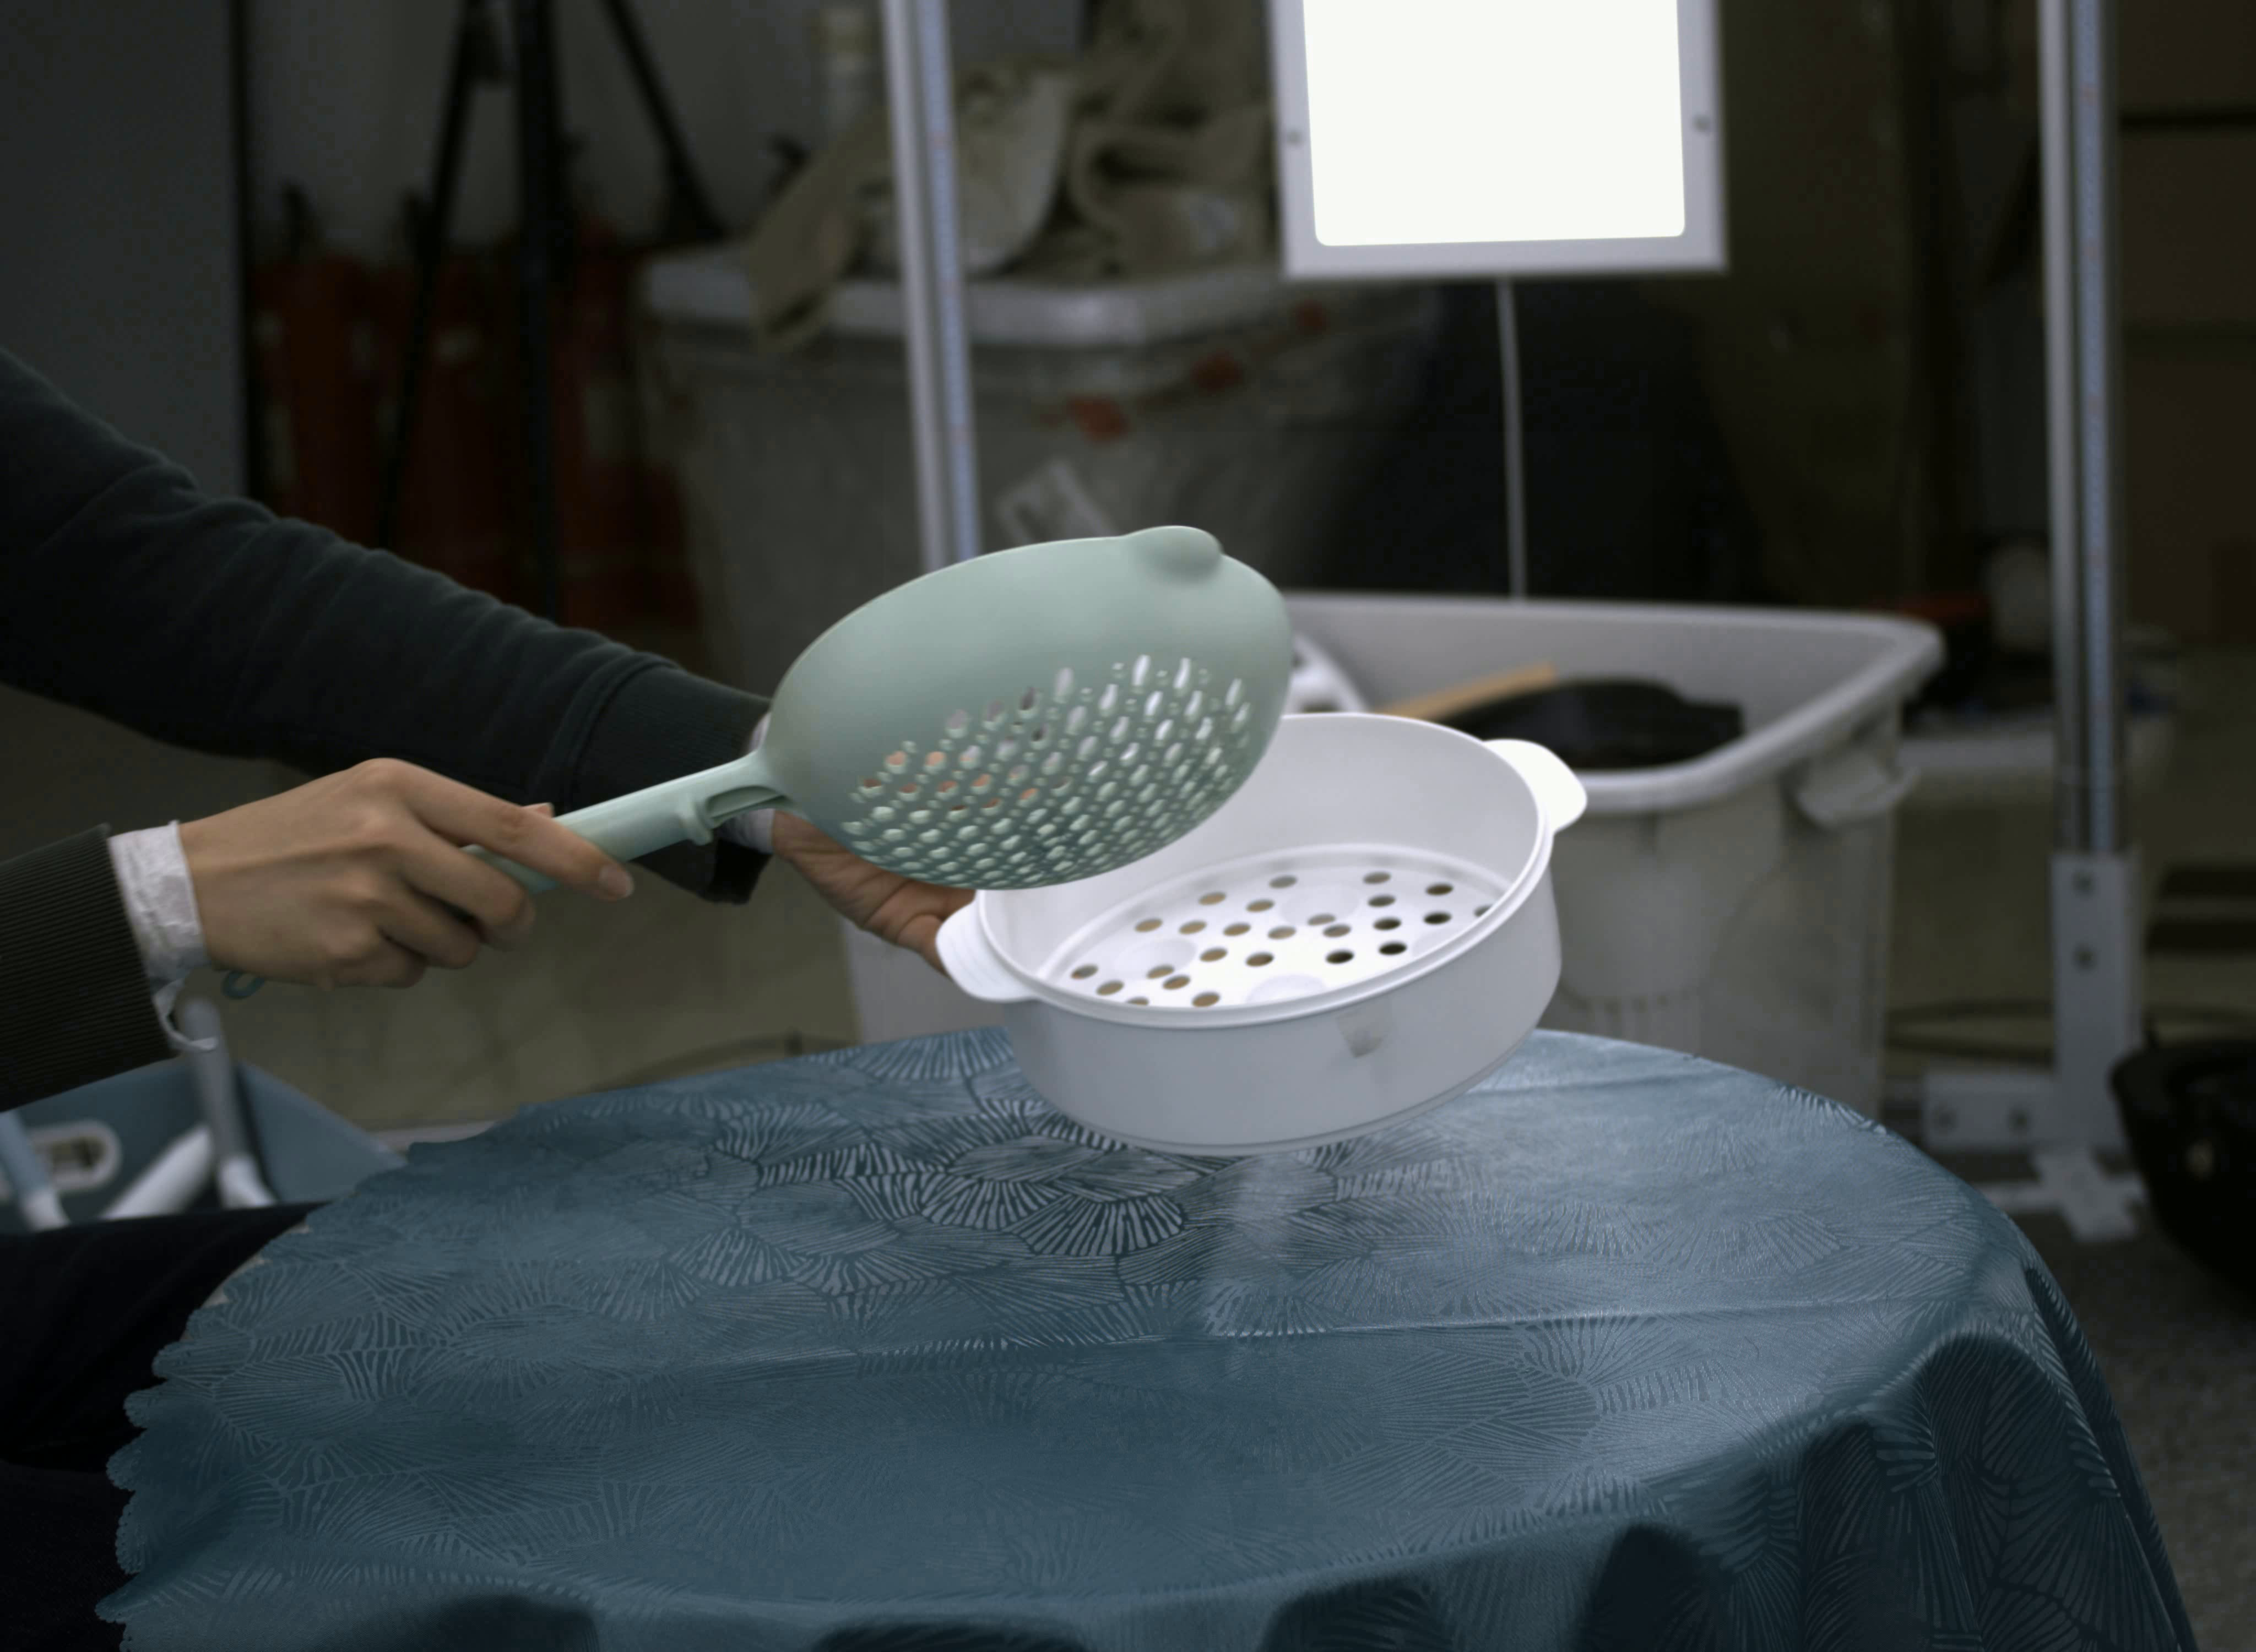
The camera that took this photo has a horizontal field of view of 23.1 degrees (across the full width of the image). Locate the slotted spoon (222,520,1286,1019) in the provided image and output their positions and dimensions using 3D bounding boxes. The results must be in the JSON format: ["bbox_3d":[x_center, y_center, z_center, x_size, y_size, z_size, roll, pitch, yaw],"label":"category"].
[{"bbox_3d":[-0.122,-0.006,1.759,0.361,0.075,0.168,-11,-28,11],"label":"slotted spoon"}]

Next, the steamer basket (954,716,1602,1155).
[{"bbox_3d":[0.057,0.038,1.893,0.228,0.069,0.204,-19,28,-10],"label":"steamer basket"}]
